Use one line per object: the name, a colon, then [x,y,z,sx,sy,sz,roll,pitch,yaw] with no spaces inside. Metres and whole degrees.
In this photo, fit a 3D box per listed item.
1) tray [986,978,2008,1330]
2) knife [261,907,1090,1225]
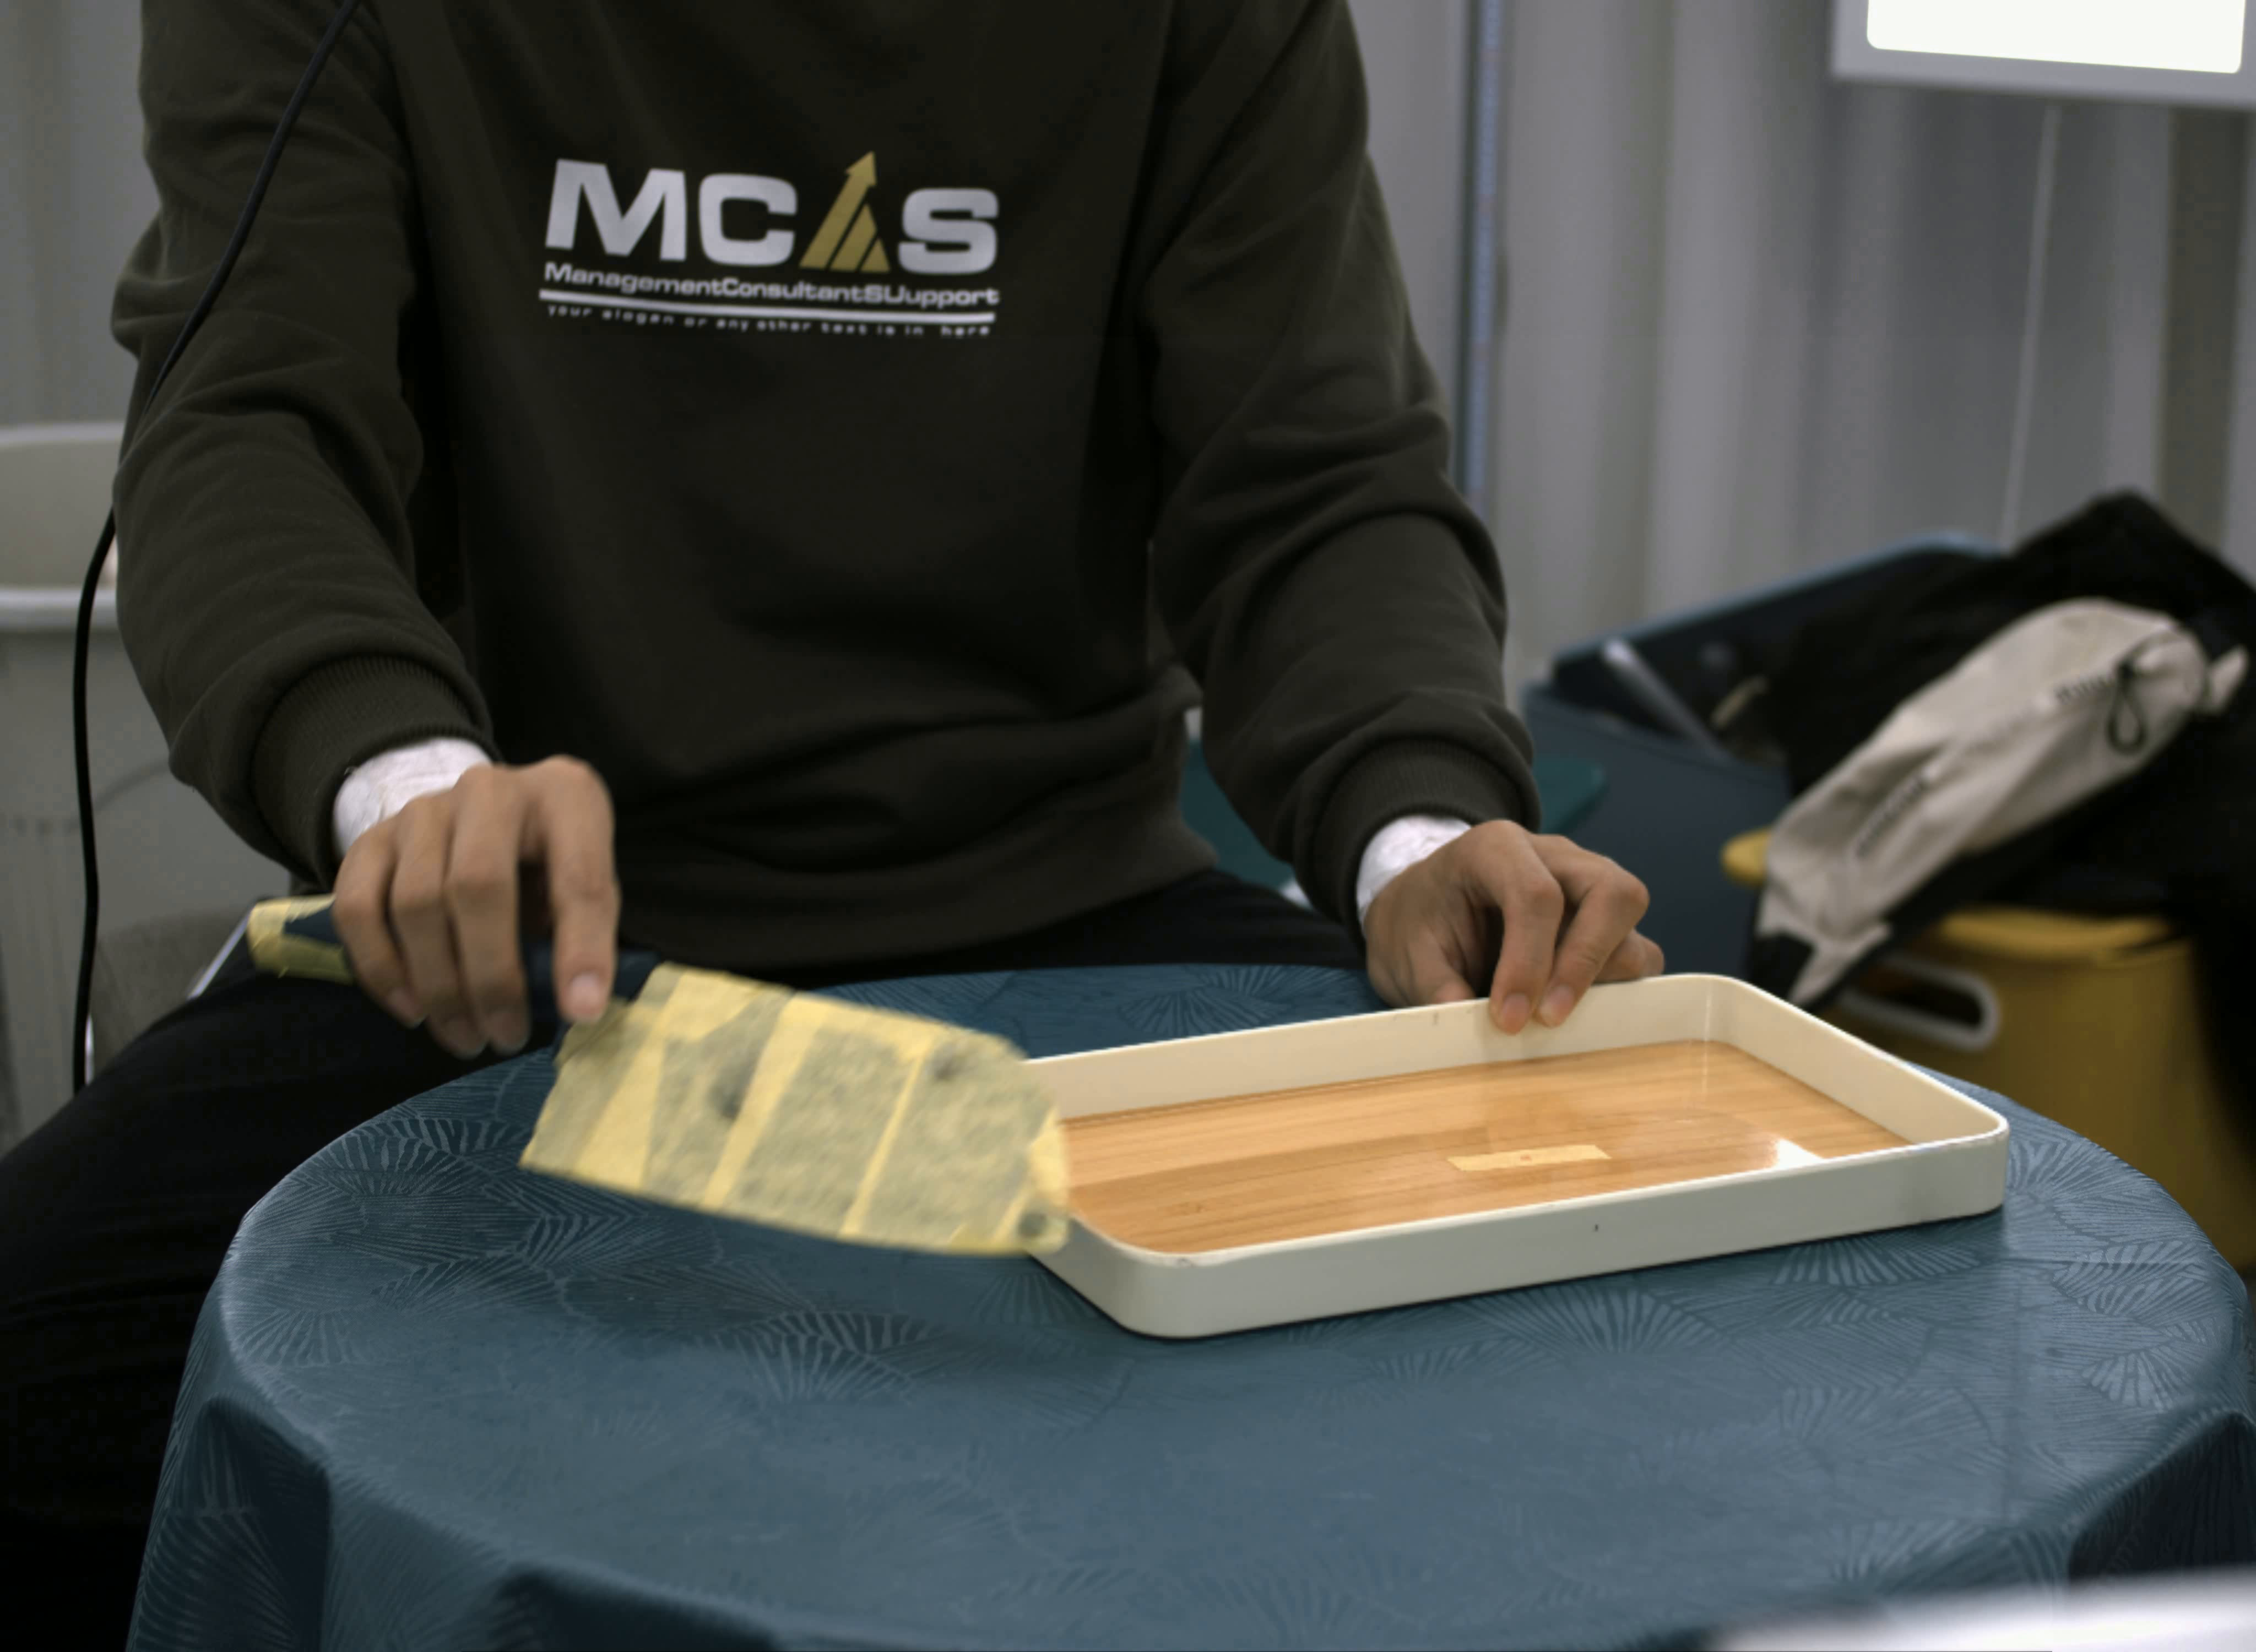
tray: [0.101,0.098,1.631,0.301,0.027,0.189,-6,16,-24]
knife: [-0.137,0.068,1.522,0.286,0.027,0.081,12,60,26]
